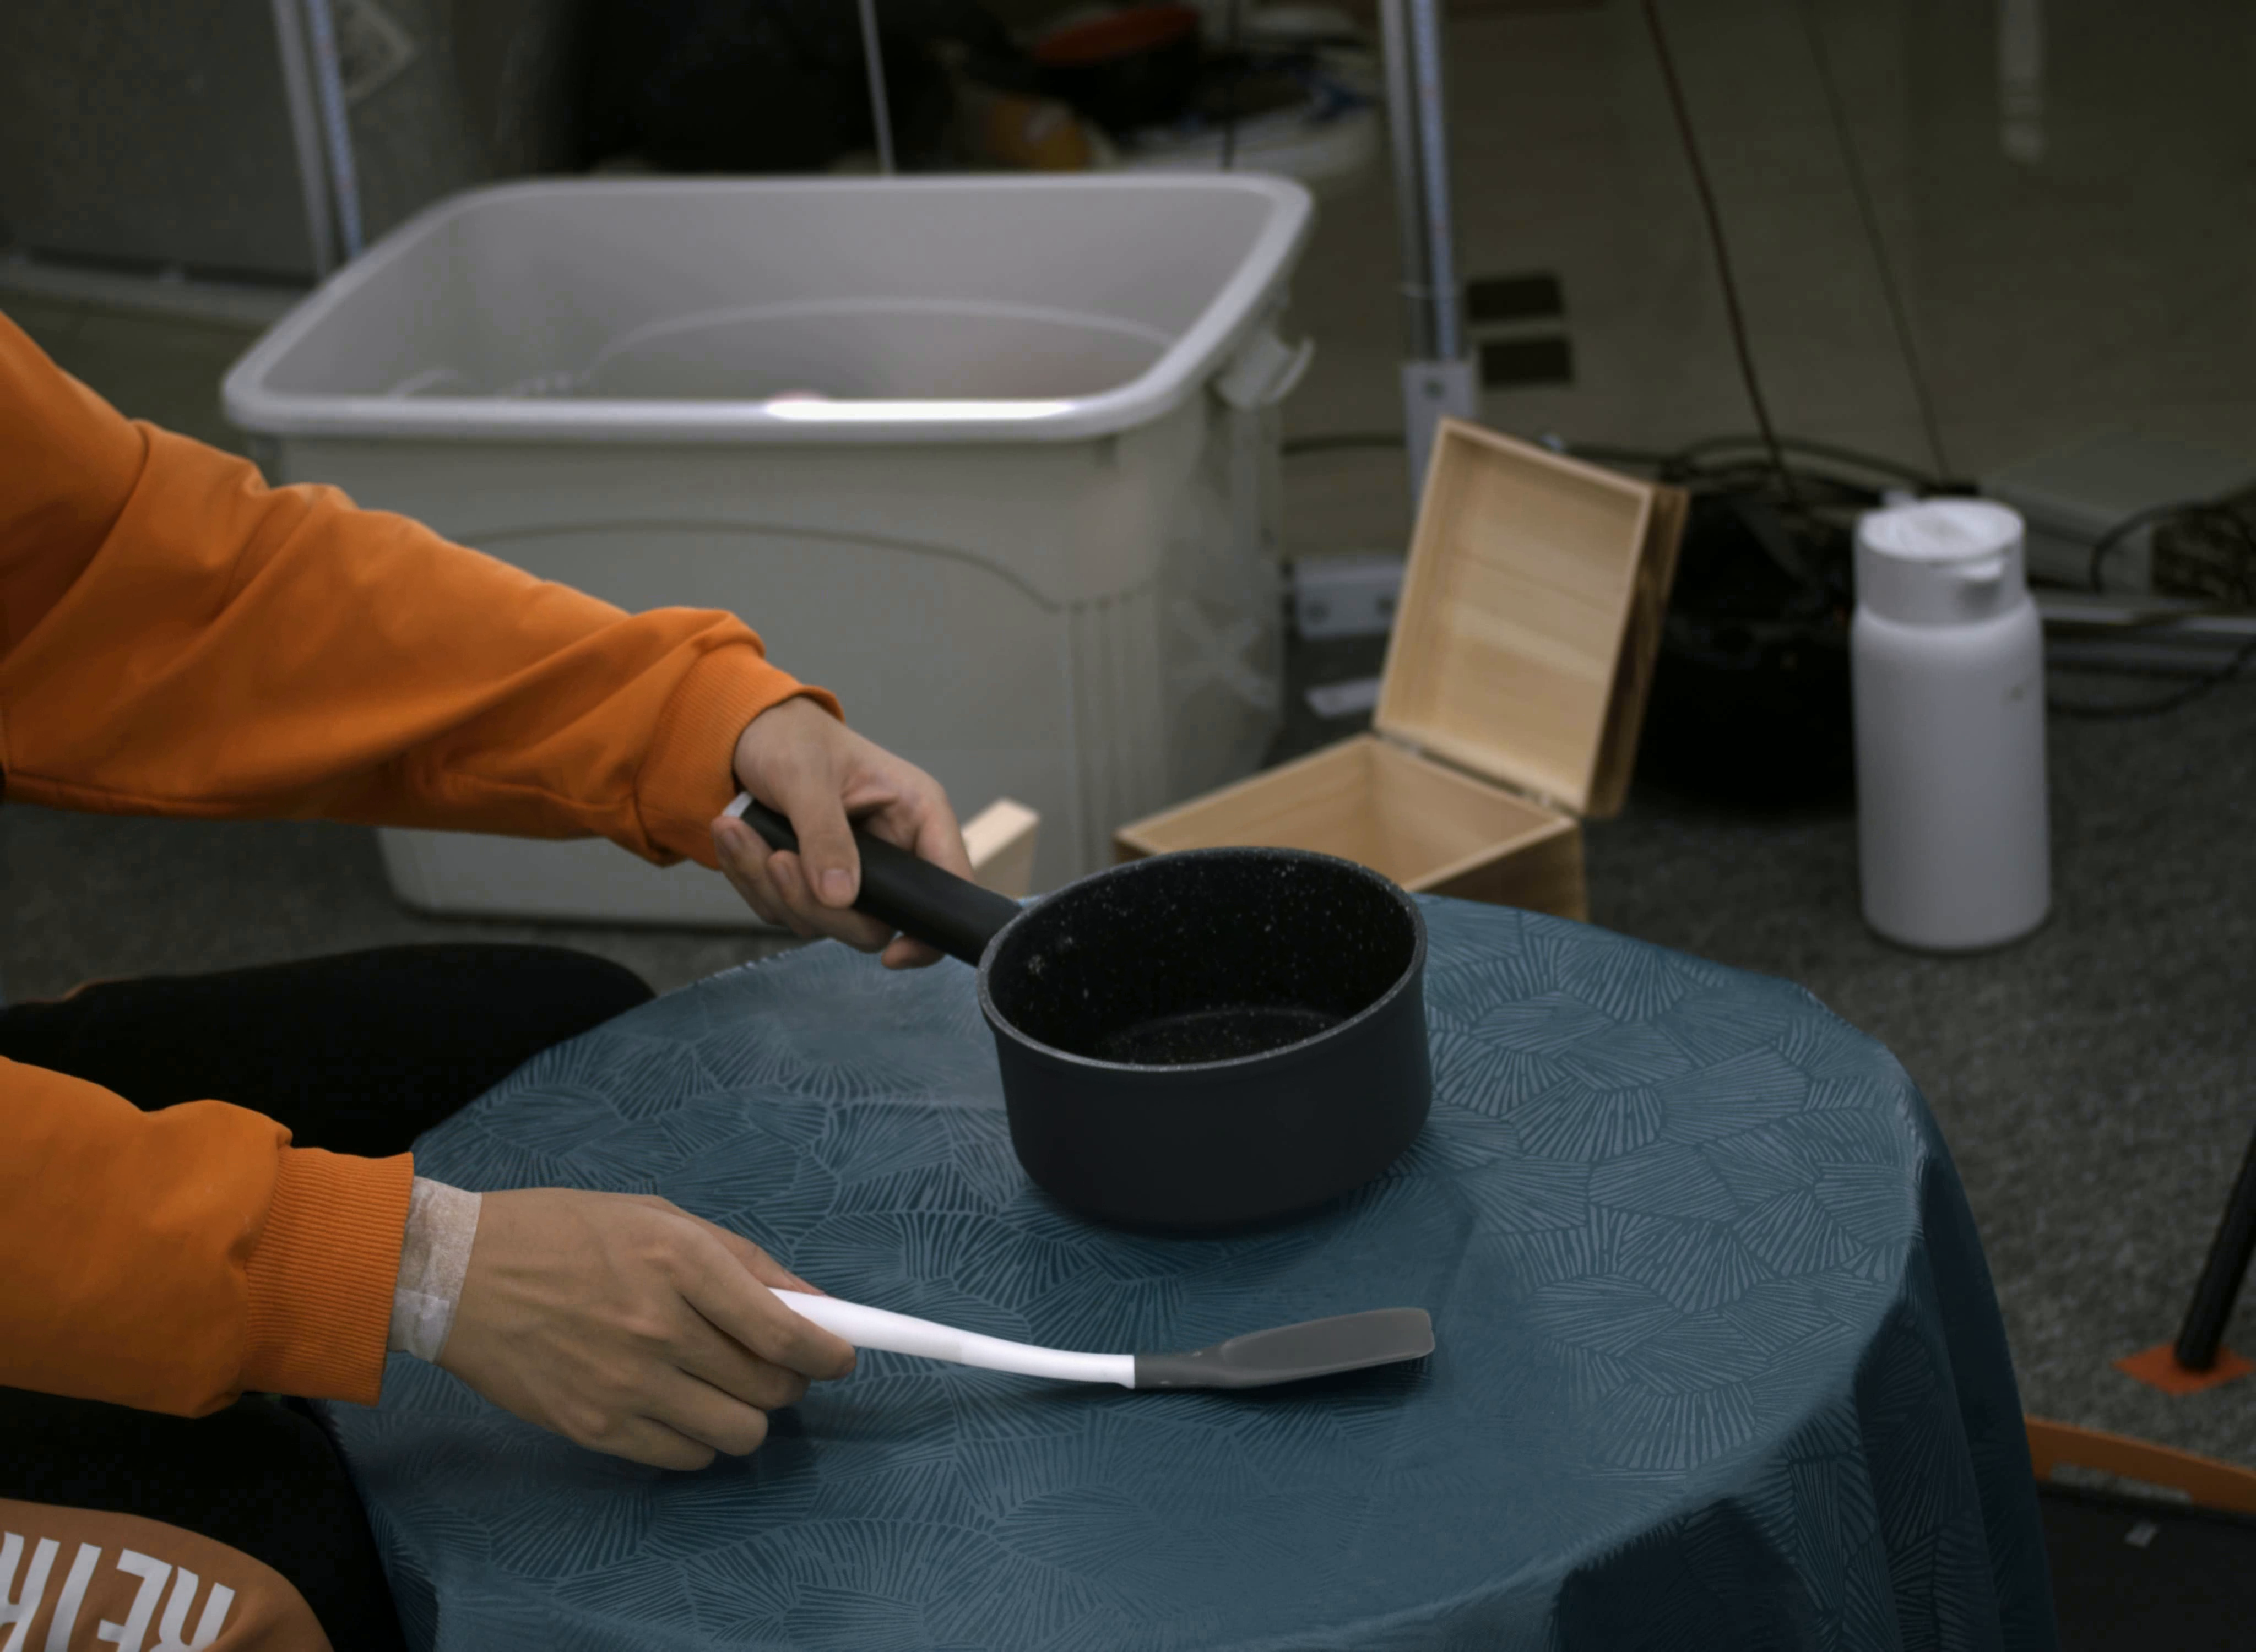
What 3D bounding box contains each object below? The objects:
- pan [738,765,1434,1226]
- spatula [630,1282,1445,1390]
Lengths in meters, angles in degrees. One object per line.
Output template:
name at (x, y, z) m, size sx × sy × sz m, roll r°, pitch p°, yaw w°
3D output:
pan at (-0.027, 0.058, 2.201) m, size 0.326 × 0.088 × 0.170 m, roll 19°, pitch 37°, yaw 39°
spatula at (-0.032, 0.182, 2.007) m, size 0.287 × 0.032 × 0.058 m, roll 2°, pitch 12°, yaw -2°
